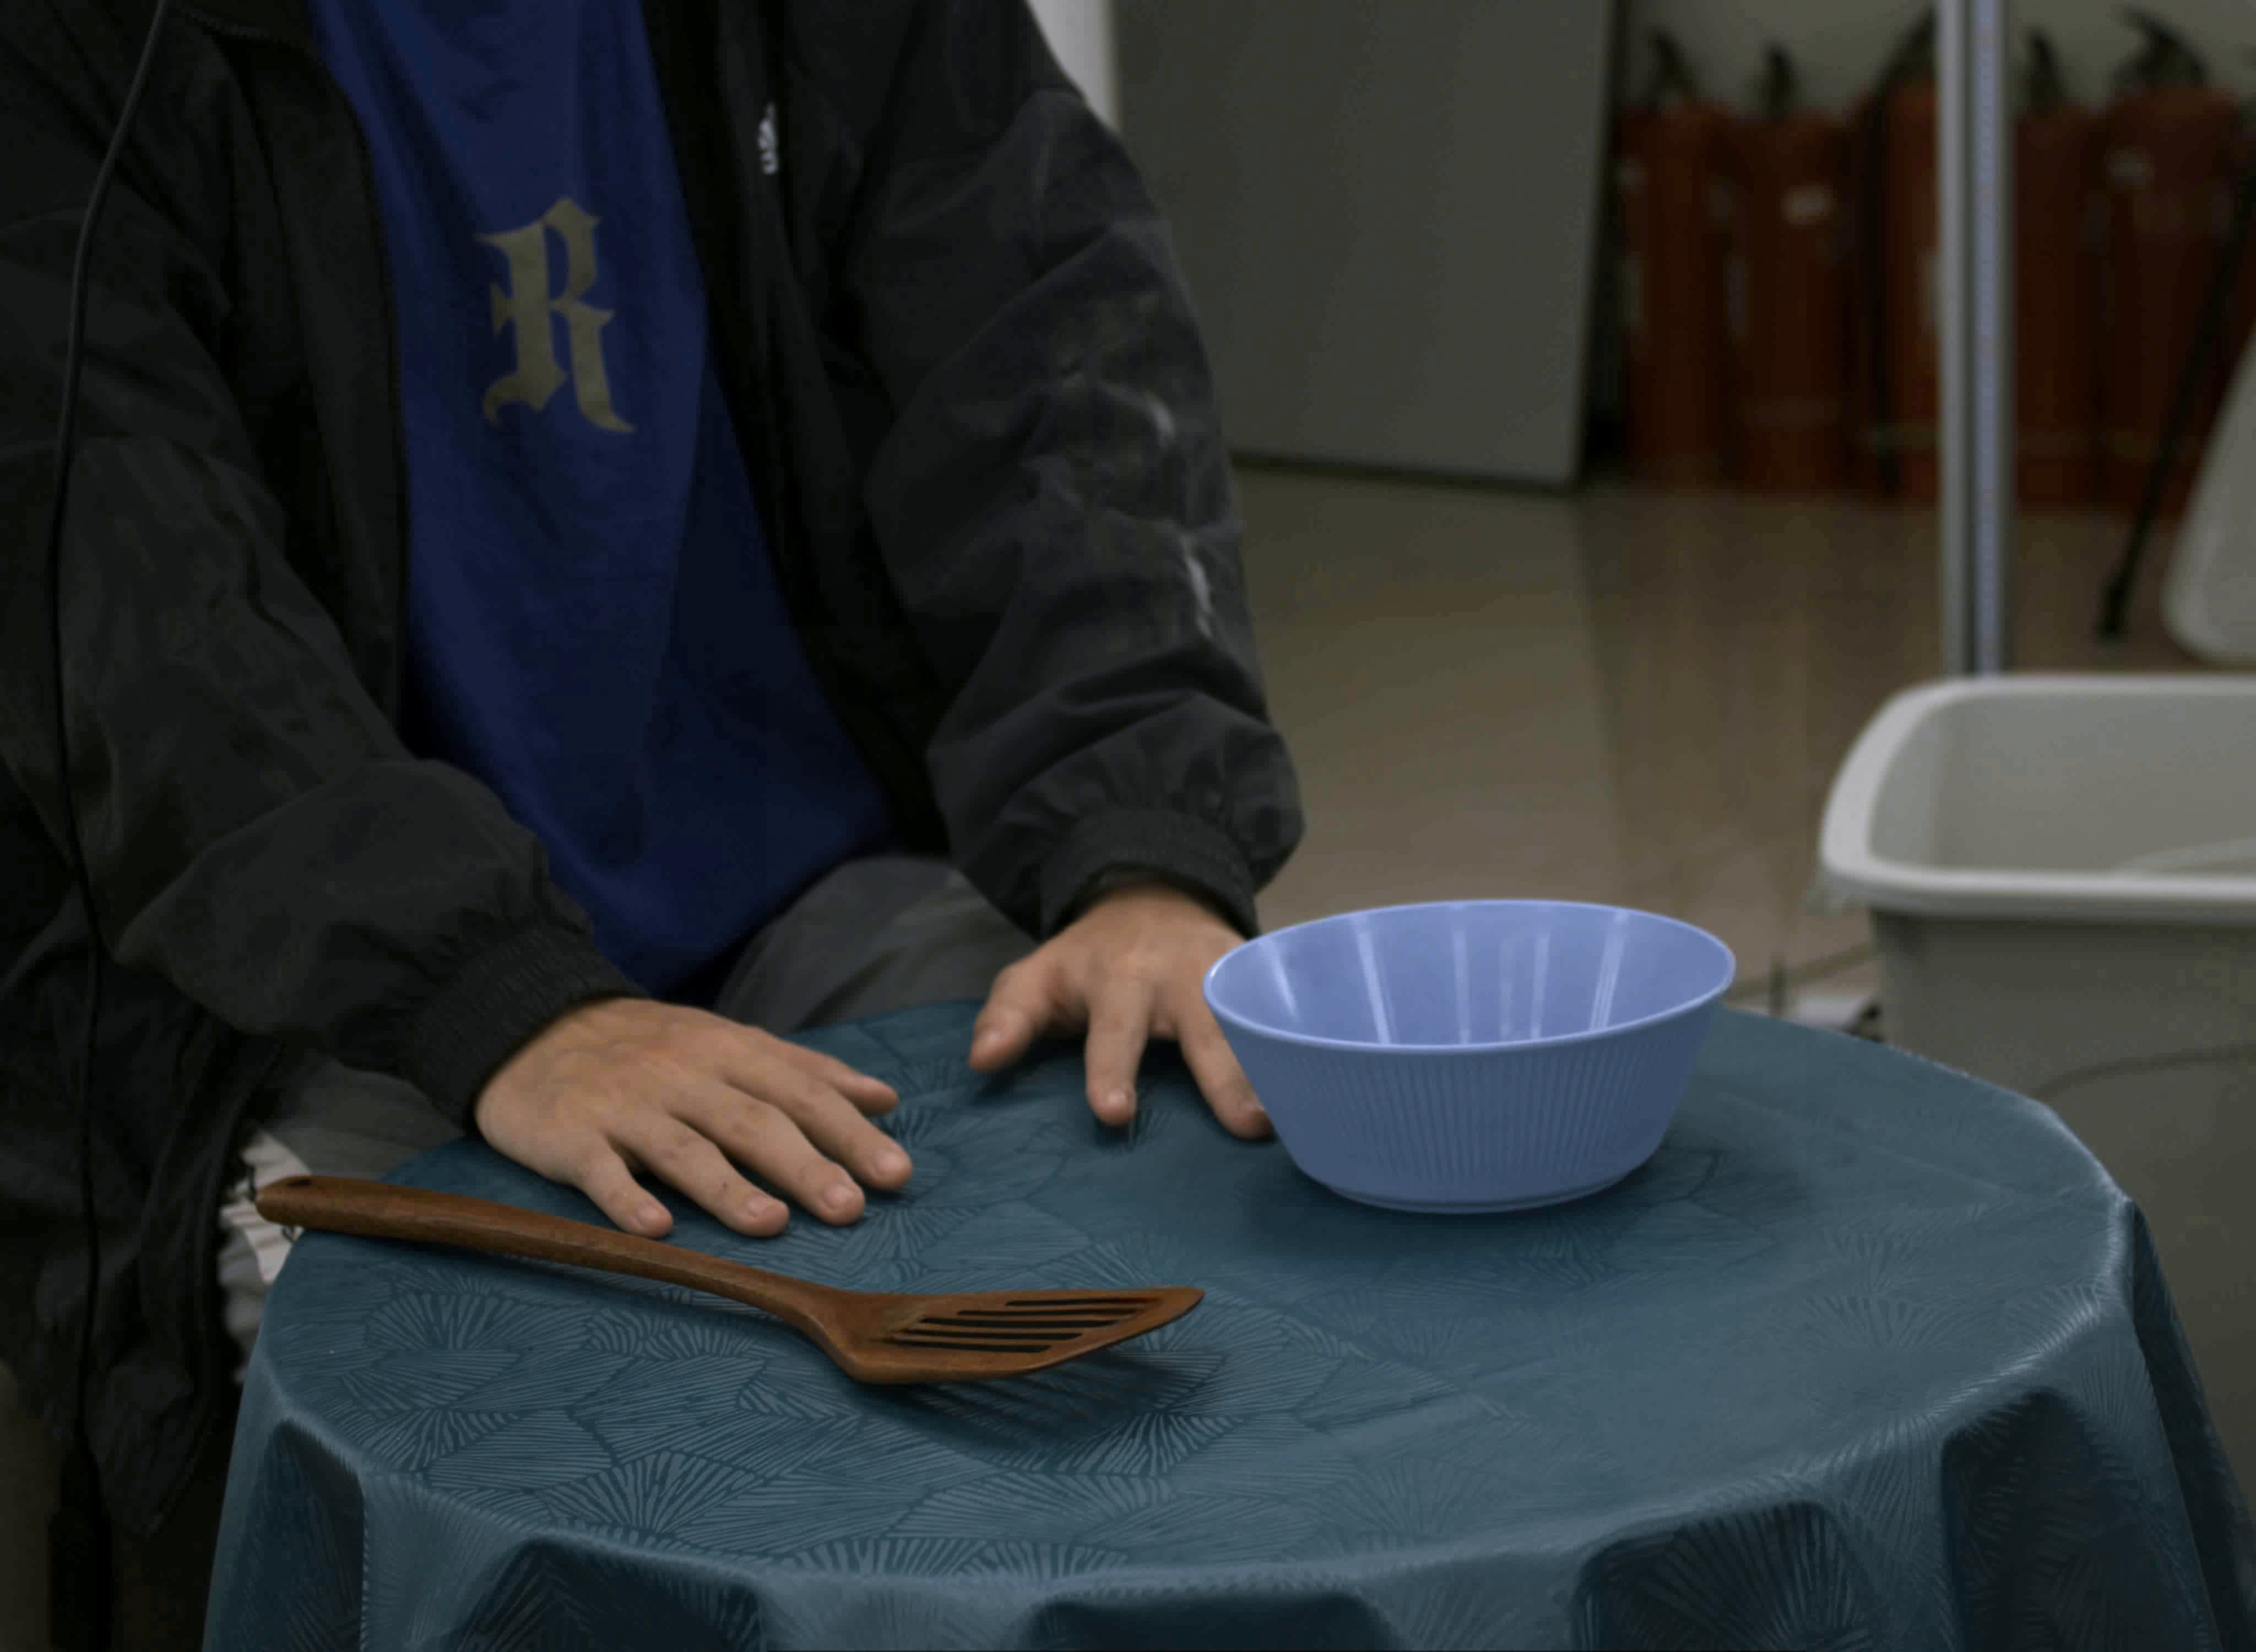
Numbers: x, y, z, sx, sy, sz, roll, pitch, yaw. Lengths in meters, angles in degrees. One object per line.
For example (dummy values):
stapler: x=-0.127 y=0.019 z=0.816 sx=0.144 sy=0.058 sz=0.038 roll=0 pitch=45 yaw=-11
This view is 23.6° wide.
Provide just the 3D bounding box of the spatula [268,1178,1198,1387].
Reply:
spatula: x=-0.140 y=0.141 z=1.690 sx=0.390 sy=0.024 sz=0.084 roll=6 pitch=16 yaw=42

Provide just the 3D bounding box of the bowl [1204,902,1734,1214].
bowl: x=0.113 y=0.078 z=1.765 sx=0.174 sy=0.071 sz=0.176 roll=-5 pitch=12 yaw=0
